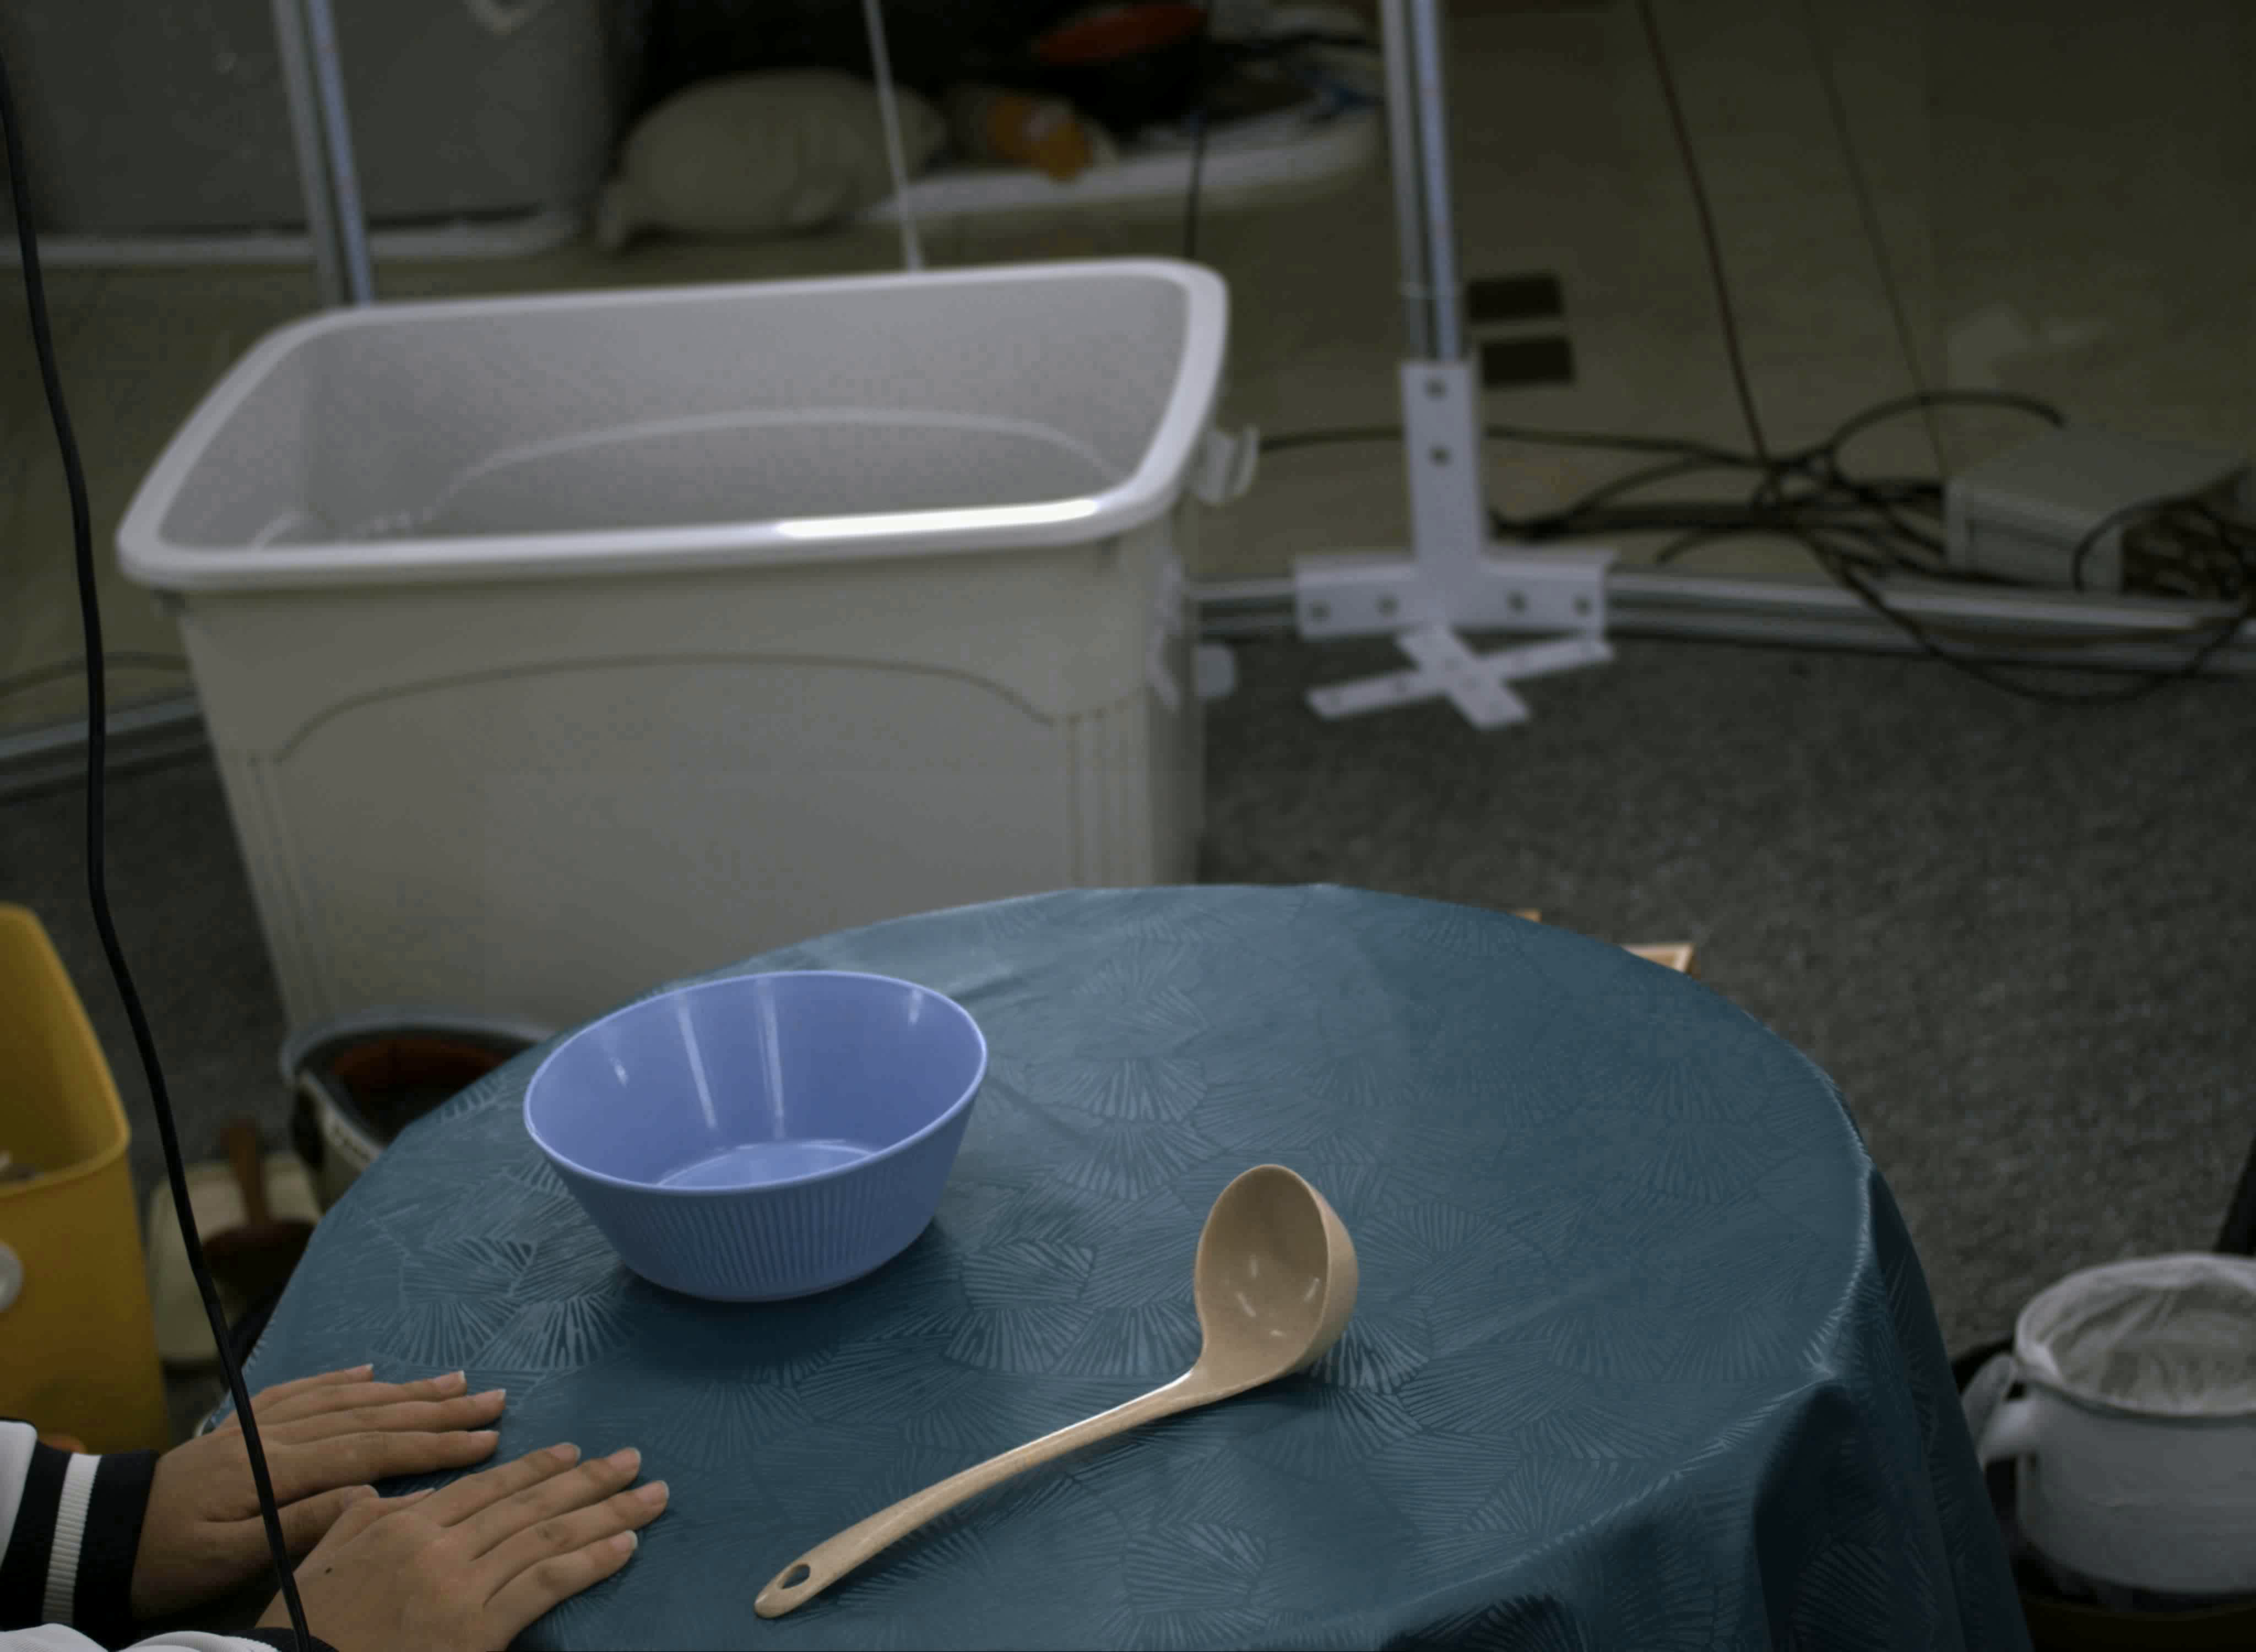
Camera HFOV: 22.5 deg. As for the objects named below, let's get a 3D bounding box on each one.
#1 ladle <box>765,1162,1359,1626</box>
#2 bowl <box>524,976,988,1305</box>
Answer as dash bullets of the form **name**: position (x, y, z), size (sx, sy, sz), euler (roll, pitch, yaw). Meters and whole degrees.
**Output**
- **ladle**: position (-0.027, 0.191, 1.955), size (0.252, 0.074, 0.071), euler (-24, 29, -33)
- **bowl**: position (-0.135, 0.124, 2.131), size (0.176, 0.071, 0.173), euler (-6, 24, 3)
